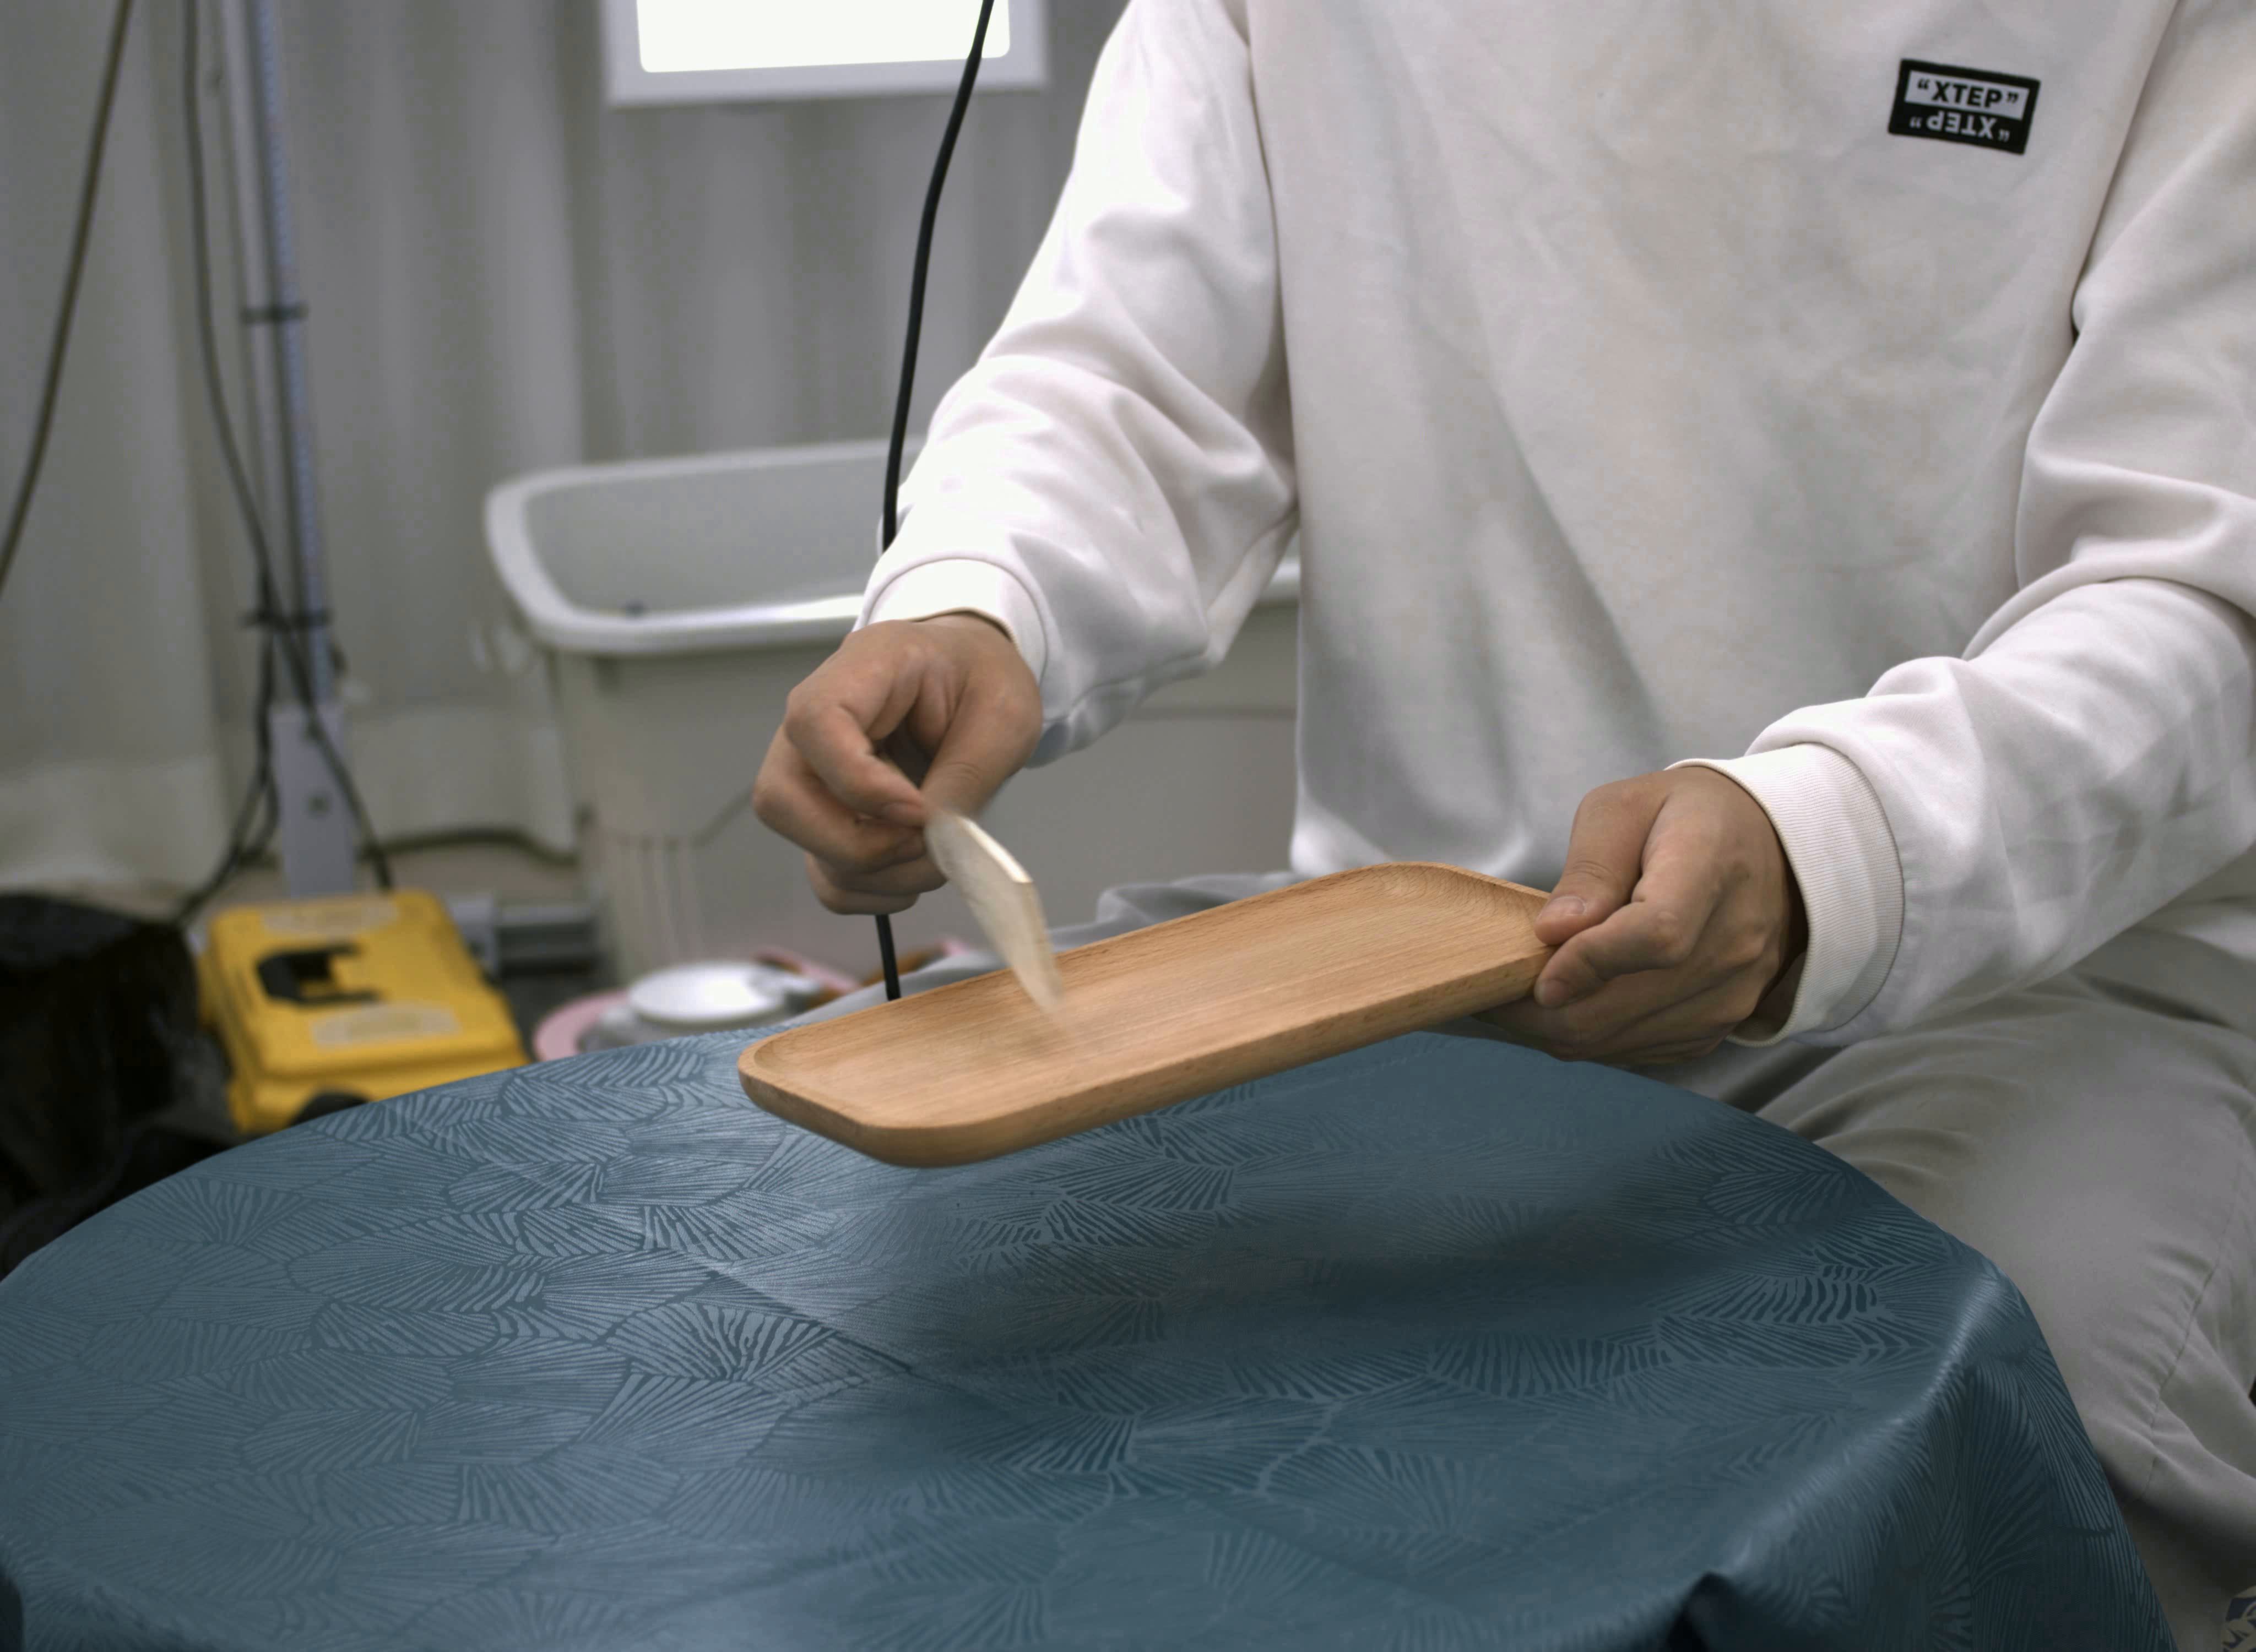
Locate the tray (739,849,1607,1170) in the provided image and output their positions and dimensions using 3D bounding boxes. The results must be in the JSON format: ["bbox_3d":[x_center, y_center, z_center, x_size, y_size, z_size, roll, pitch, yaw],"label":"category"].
[{"bbox_3d":[0.015,0.052,1.610,0.250,0.023,0.131,-15,20,-28],"label":"tray"}]

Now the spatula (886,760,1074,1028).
[{"bbox_3d":[-0.048,0.013,1.661,0.005,0.050,0.209,-18,18,-11],"label":"spatula"}]
